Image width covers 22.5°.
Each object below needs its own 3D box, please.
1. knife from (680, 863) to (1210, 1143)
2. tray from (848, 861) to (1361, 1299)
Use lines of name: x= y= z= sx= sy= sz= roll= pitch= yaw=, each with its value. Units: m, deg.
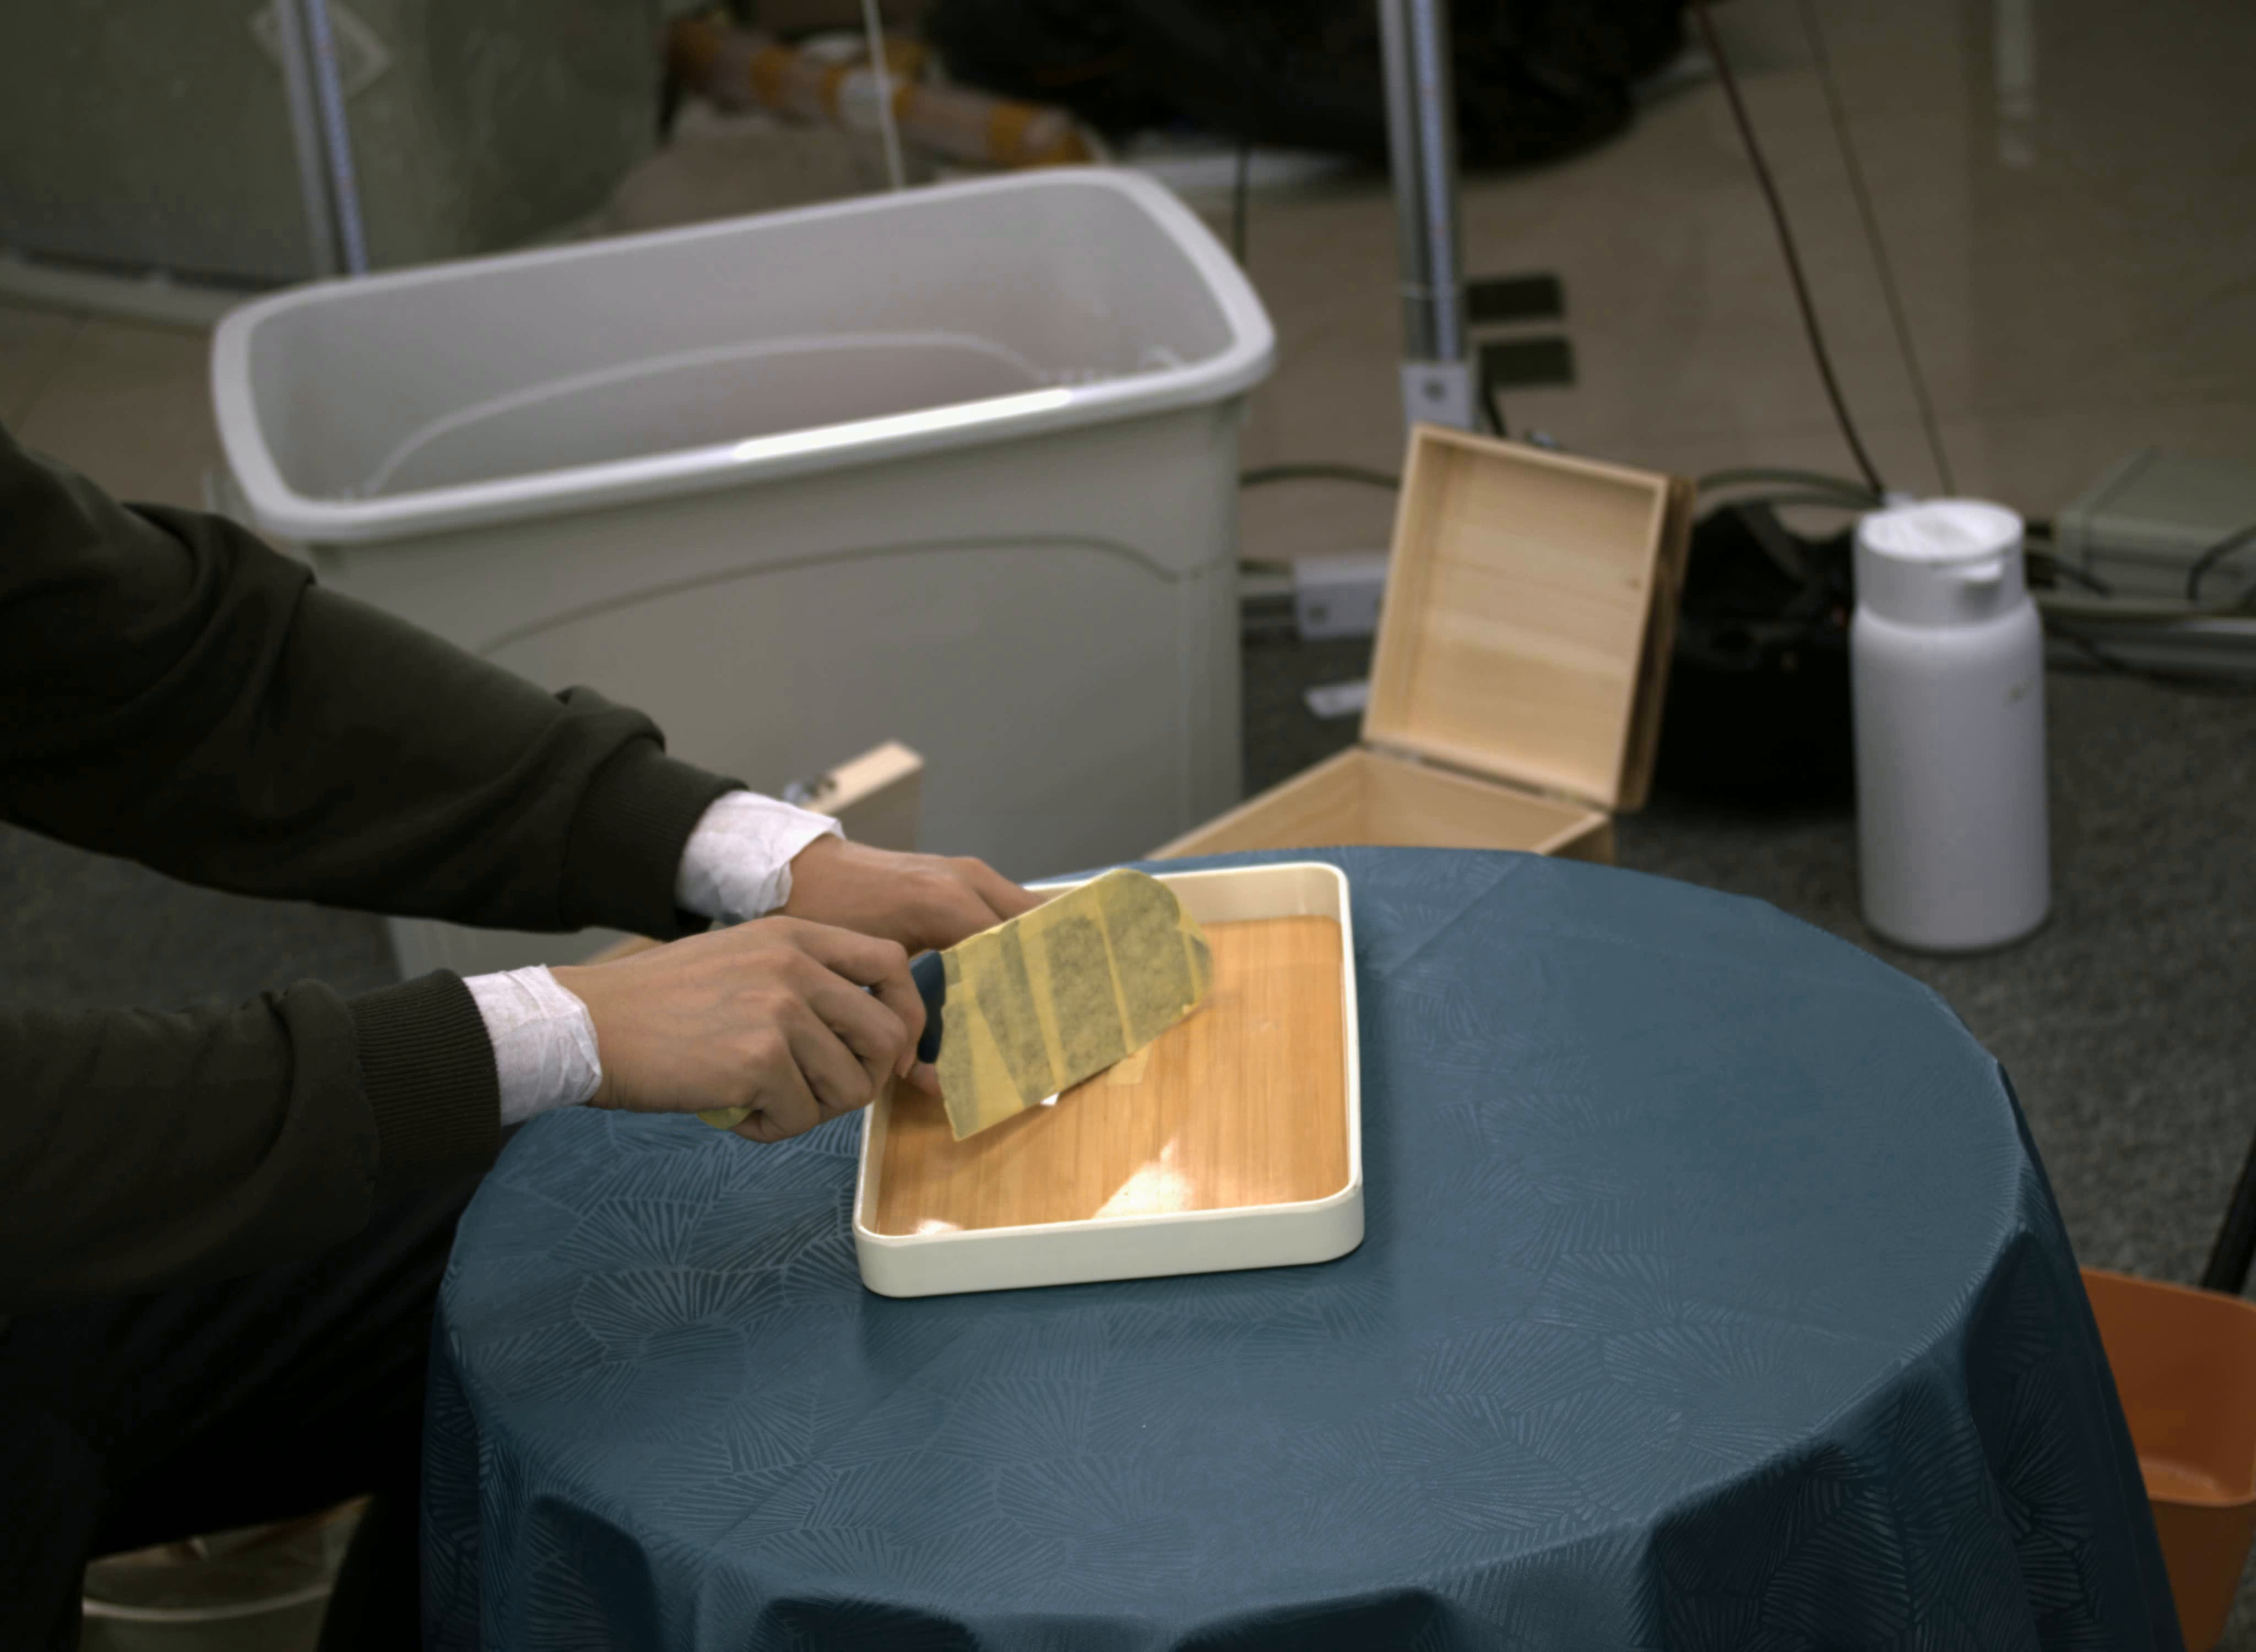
knife: x=-0.062 y=0.078 z=2.172 sx=0.027 sy=0.081 sz=0.287 roll=-2 pitch=13 yaw=44
tray: x=-0.006 y=0.095 z=2.216 sx=0.191 sy=0.028 sz=0.296 roll=-6 pitch=24 yaw=4
